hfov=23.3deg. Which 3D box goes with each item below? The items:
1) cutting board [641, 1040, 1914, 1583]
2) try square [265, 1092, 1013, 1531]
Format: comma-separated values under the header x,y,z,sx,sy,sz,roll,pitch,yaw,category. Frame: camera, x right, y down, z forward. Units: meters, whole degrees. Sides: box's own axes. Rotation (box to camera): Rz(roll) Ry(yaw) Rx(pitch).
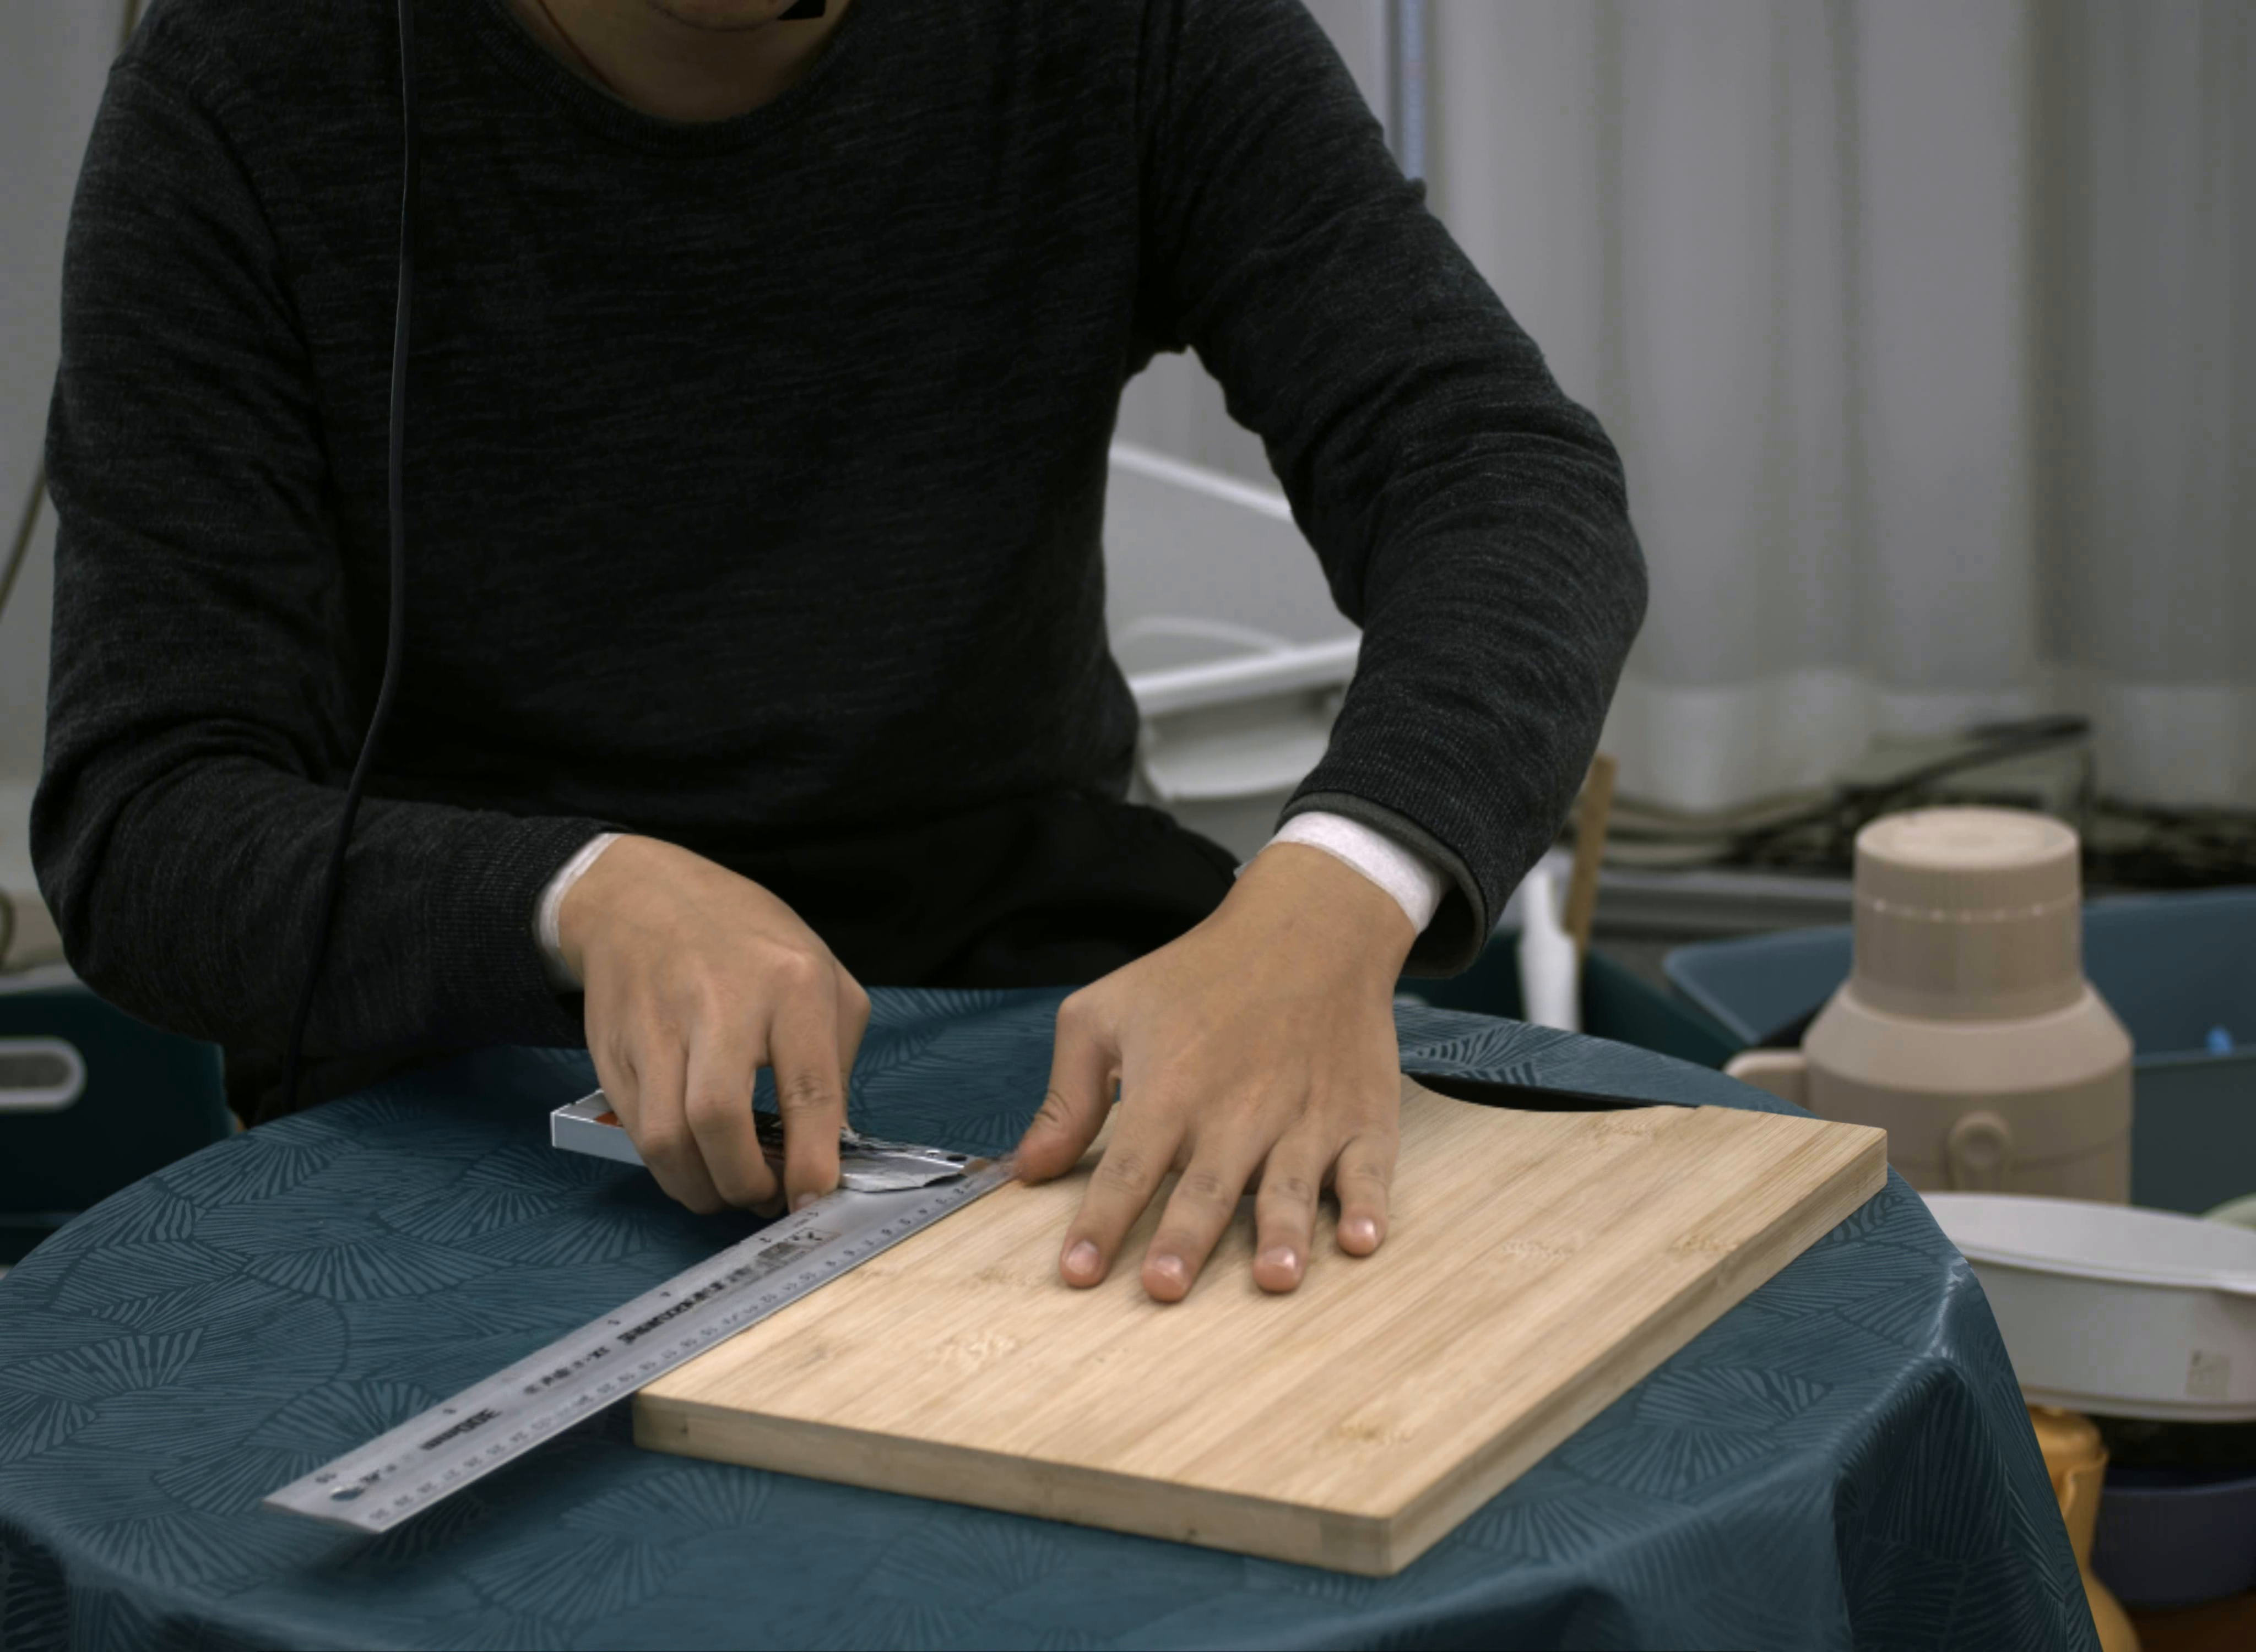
x,y,z,sx,sy,sz,roll,pitch,yaw,category
0.052,0.133,1.604,0.251,0.023,0.349,6,17,29,cutting board
-0.177,0.136,1.588,0.153,0.016,0.313,8,18,30,try square
